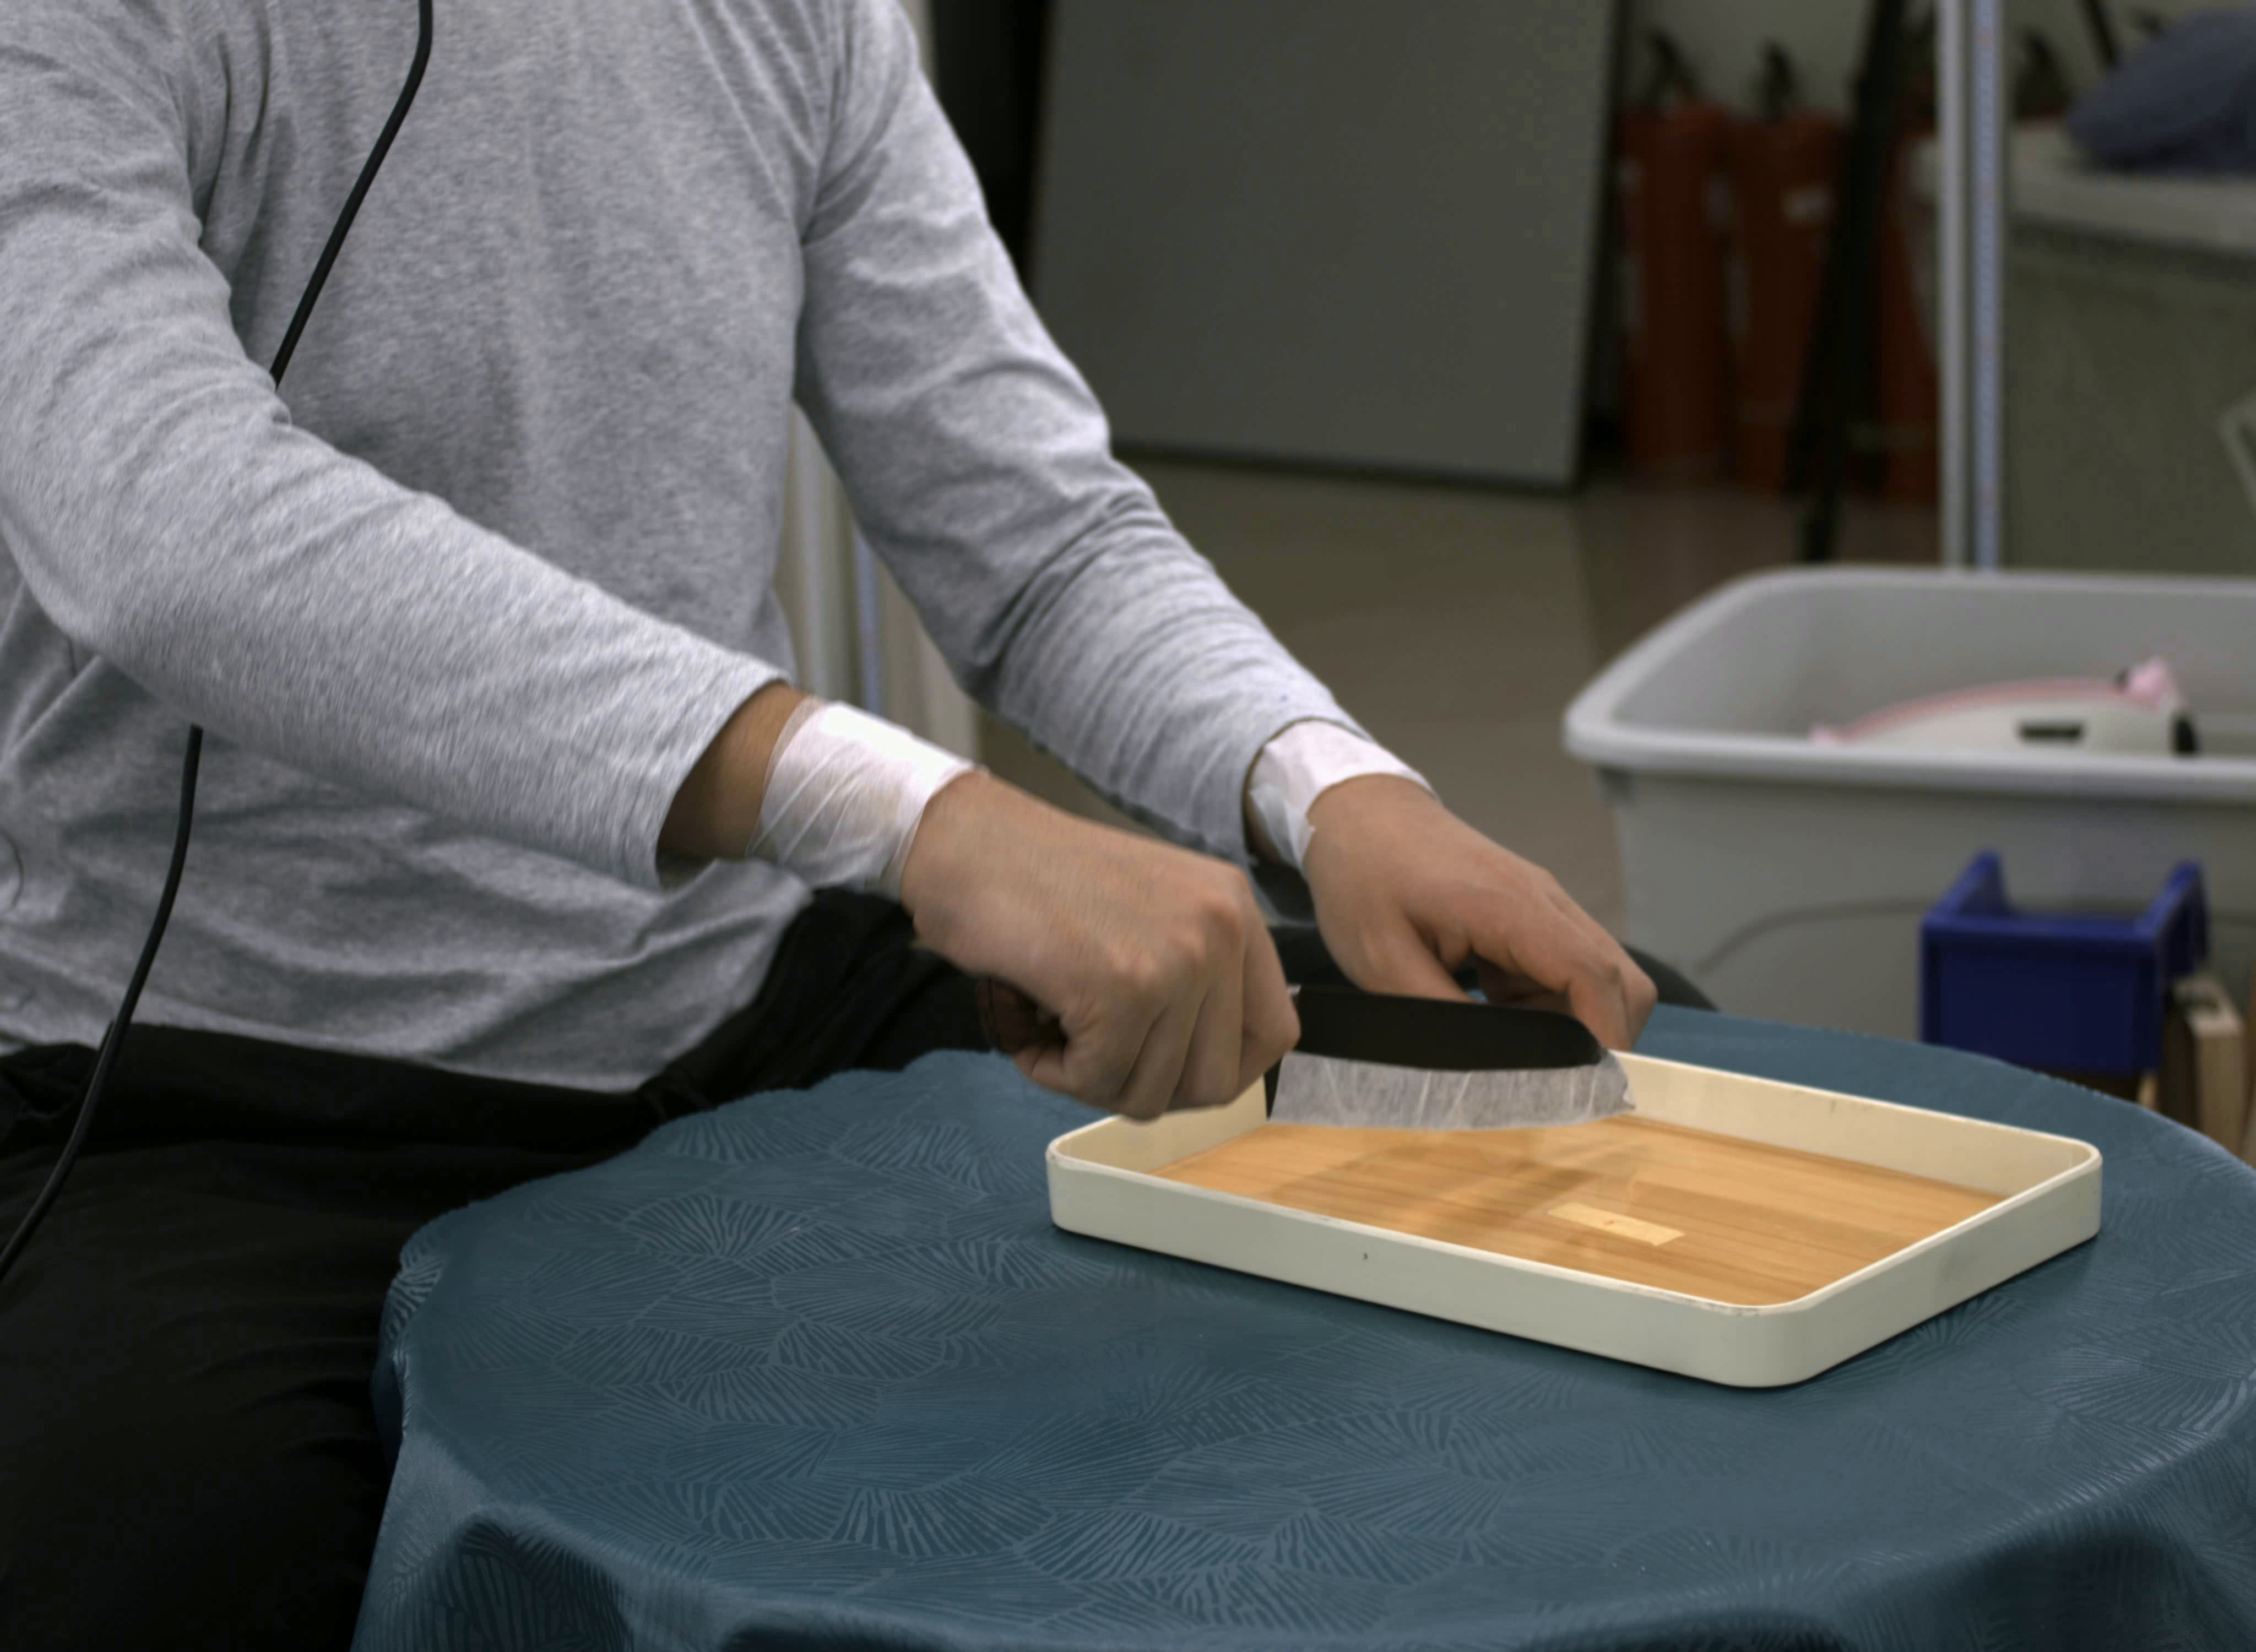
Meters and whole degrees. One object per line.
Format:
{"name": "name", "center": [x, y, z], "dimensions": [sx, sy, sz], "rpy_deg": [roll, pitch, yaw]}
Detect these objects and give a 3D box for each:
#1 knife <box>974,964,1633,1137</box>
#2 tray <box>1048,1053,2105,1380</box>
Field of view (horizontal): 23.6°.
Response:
{"name": "knife", "center": [0.062, 0.071, 1.682], "dimensions": [0.282, 0.051, 0.020], "rpy_deg": [10, 3, -41]}
{"name": "tray", "center": [0.139, 0.115, 1.704], "dimensions": [0.303, 0.028, 0.188], "rpy_deg": [8, 18, 43]}
